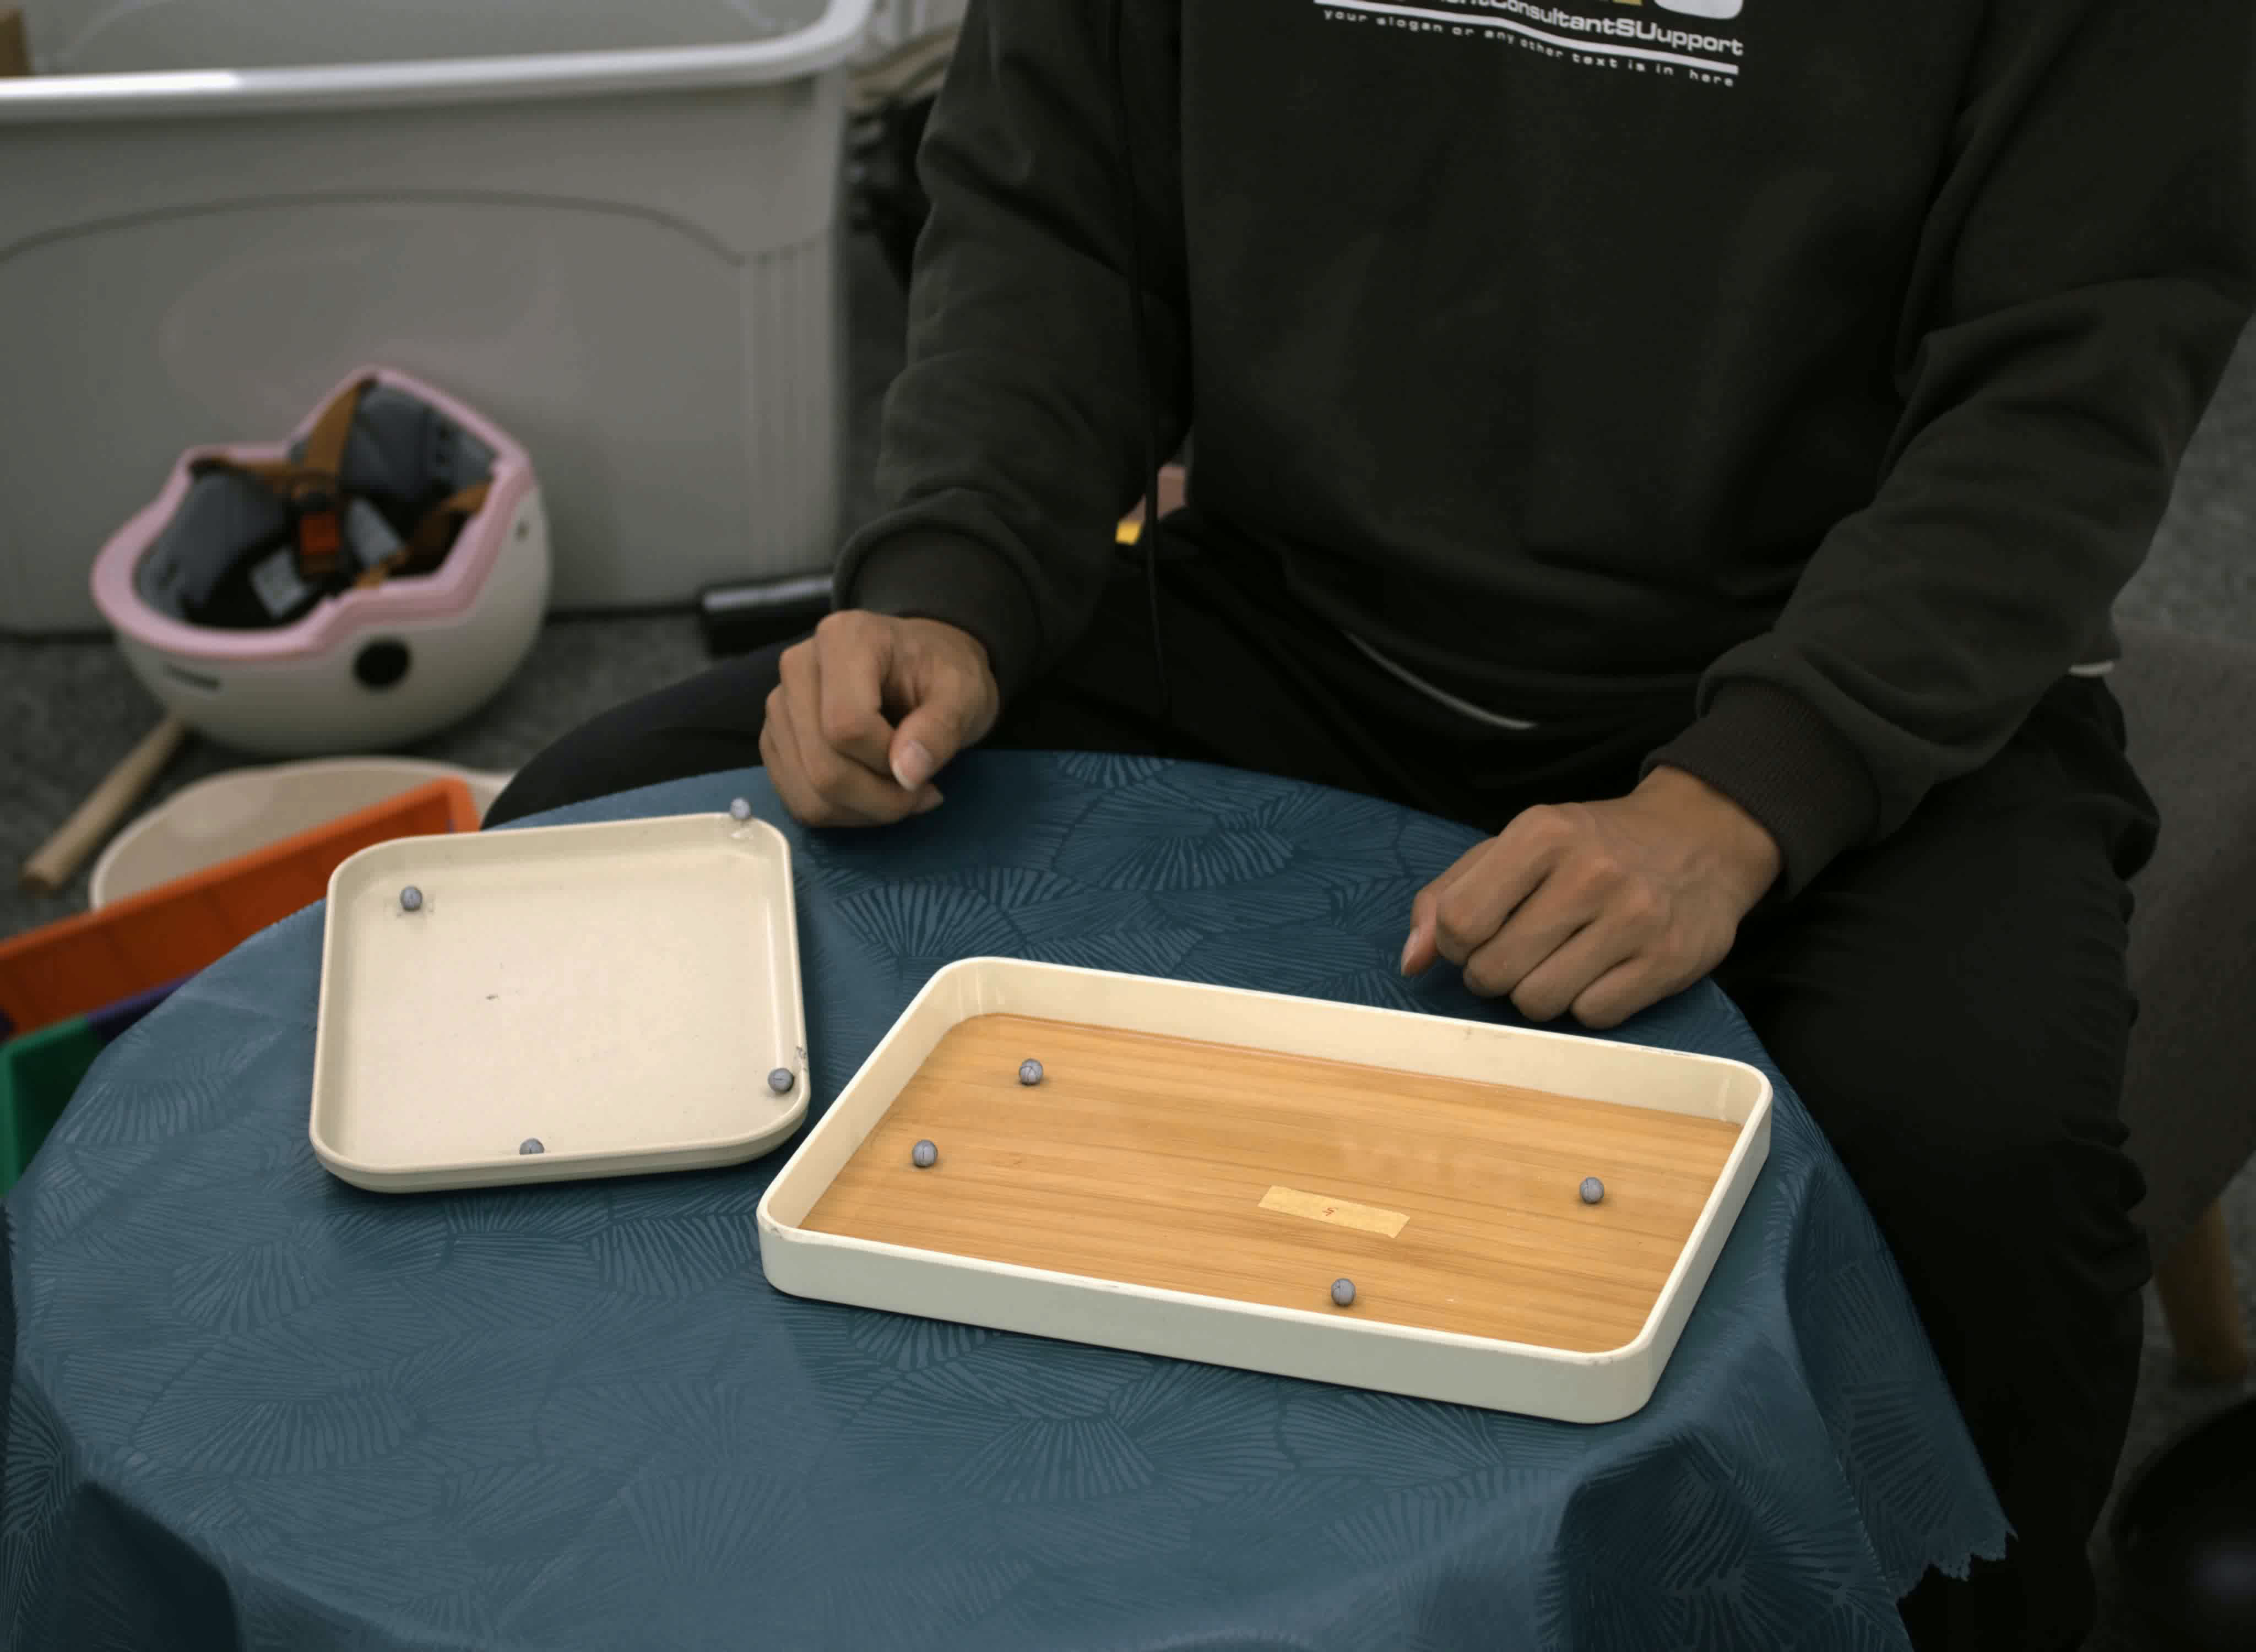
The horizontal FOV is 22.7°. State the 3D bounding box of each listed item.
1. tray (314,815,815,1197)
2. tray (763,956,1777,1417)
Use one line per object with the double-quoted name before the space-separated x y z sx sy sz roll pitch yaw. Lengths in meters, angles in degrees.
"tray" -0.198 0.062 1.977 0.171 0.017 0.243 -5 27 -4
"tray" 0.049 0.115 1.846 0.298 0.027 0.195 7 29 18
